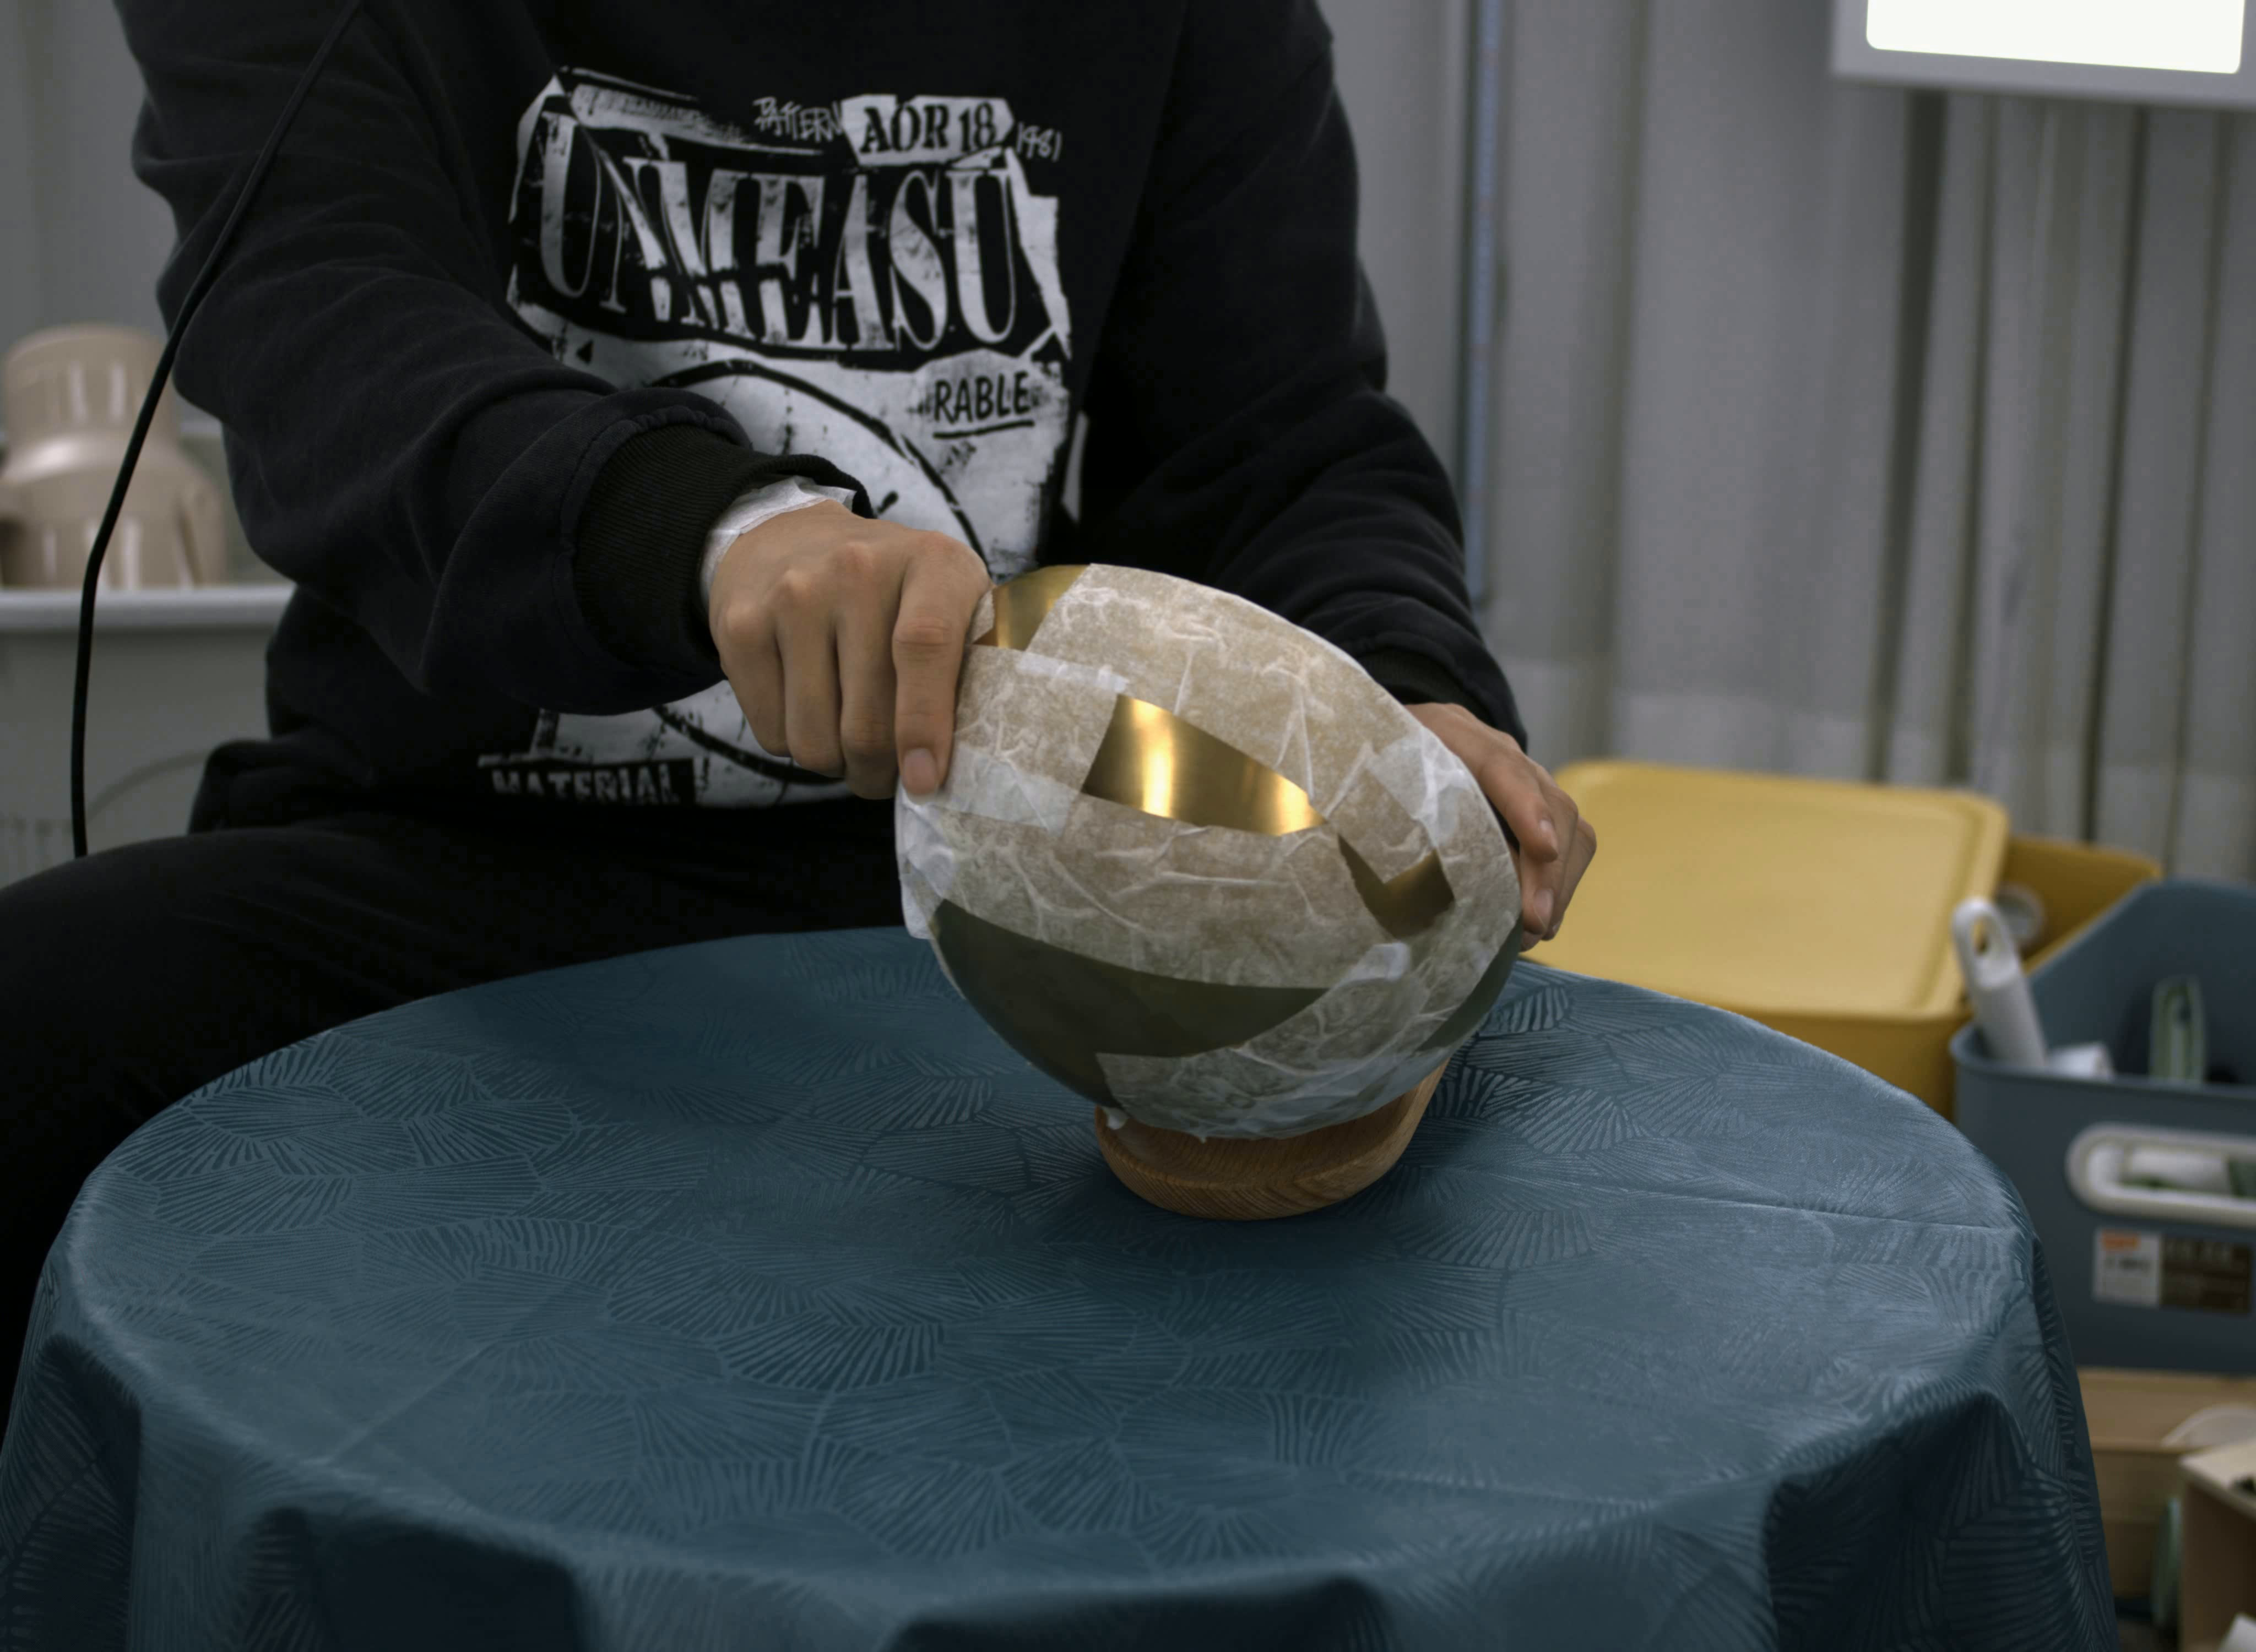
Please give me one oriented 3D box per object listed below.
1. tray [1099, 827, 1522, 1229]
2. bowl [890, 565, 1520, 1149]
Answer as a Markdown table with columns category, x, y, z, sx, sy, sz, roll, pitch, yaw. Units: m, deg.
| category | x | y | z | sx | sy | sz | roll | pitch | yaw |
| --- | --- | --- | --- | --- | --- | --- | --- | --- | --- |
| tray | 0.061 | 0.060 | 1.685 | 0.101 | 0.020 | 0.230 | 2 | 32 | 18 |
| bowl | 0.008 | 0.030 | 1.567 | 0.212 | 0.218 | 0.094 | 11 | 50 | 30 |
